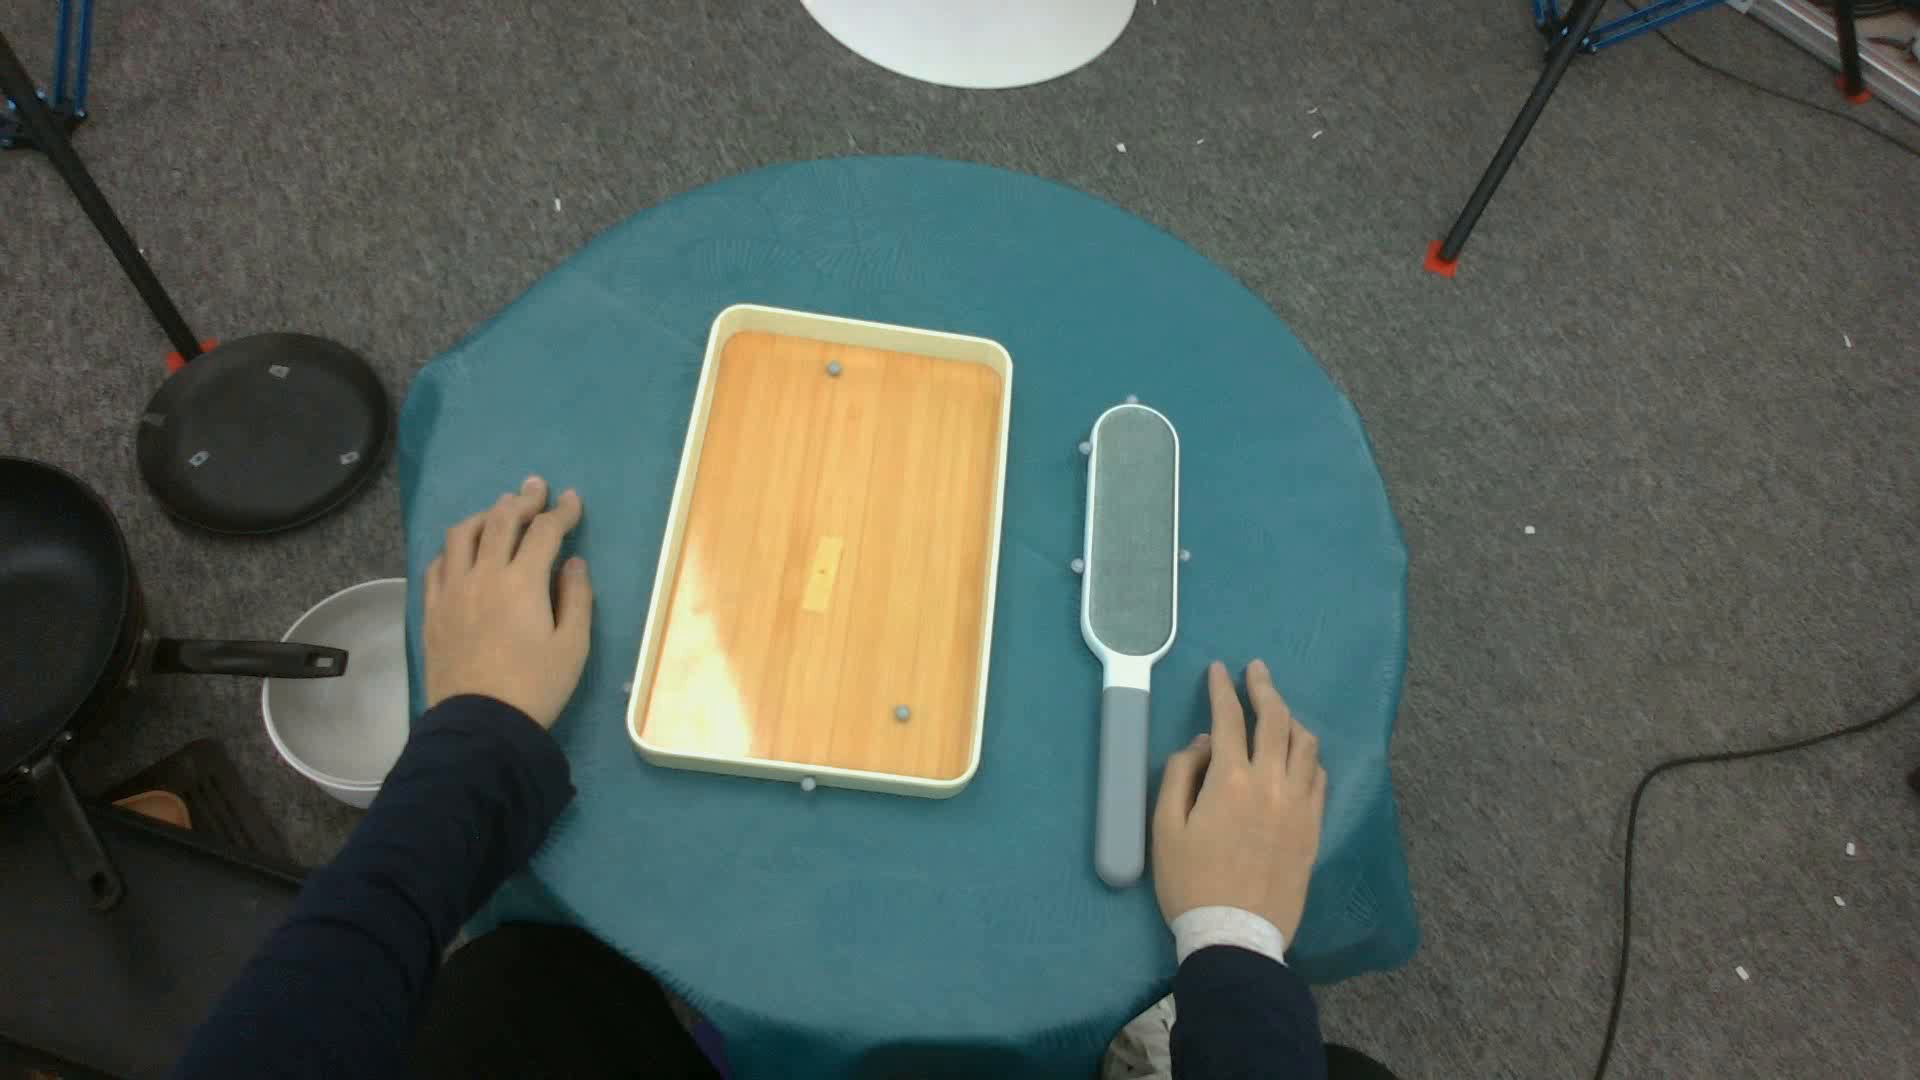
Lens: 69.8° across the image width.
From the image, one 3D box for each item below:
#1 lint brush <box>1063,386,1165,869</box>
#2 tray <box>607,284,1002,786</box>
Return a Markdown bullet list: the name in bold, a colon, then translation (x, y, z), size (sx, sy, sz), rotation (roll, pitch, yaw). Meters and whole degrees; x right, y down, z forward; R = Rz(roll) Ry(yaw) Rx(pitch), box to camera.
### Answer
- **lint brush**: translation (0.088, 0.039, 0.804), size (0.060, 0.021, 0.310), rotation (11, 61, -9)
- **tray**: translation (-0.081, -0.013, 0.806), size (0.191, 0.027, 0.301), rotation (9, 61, -4)
